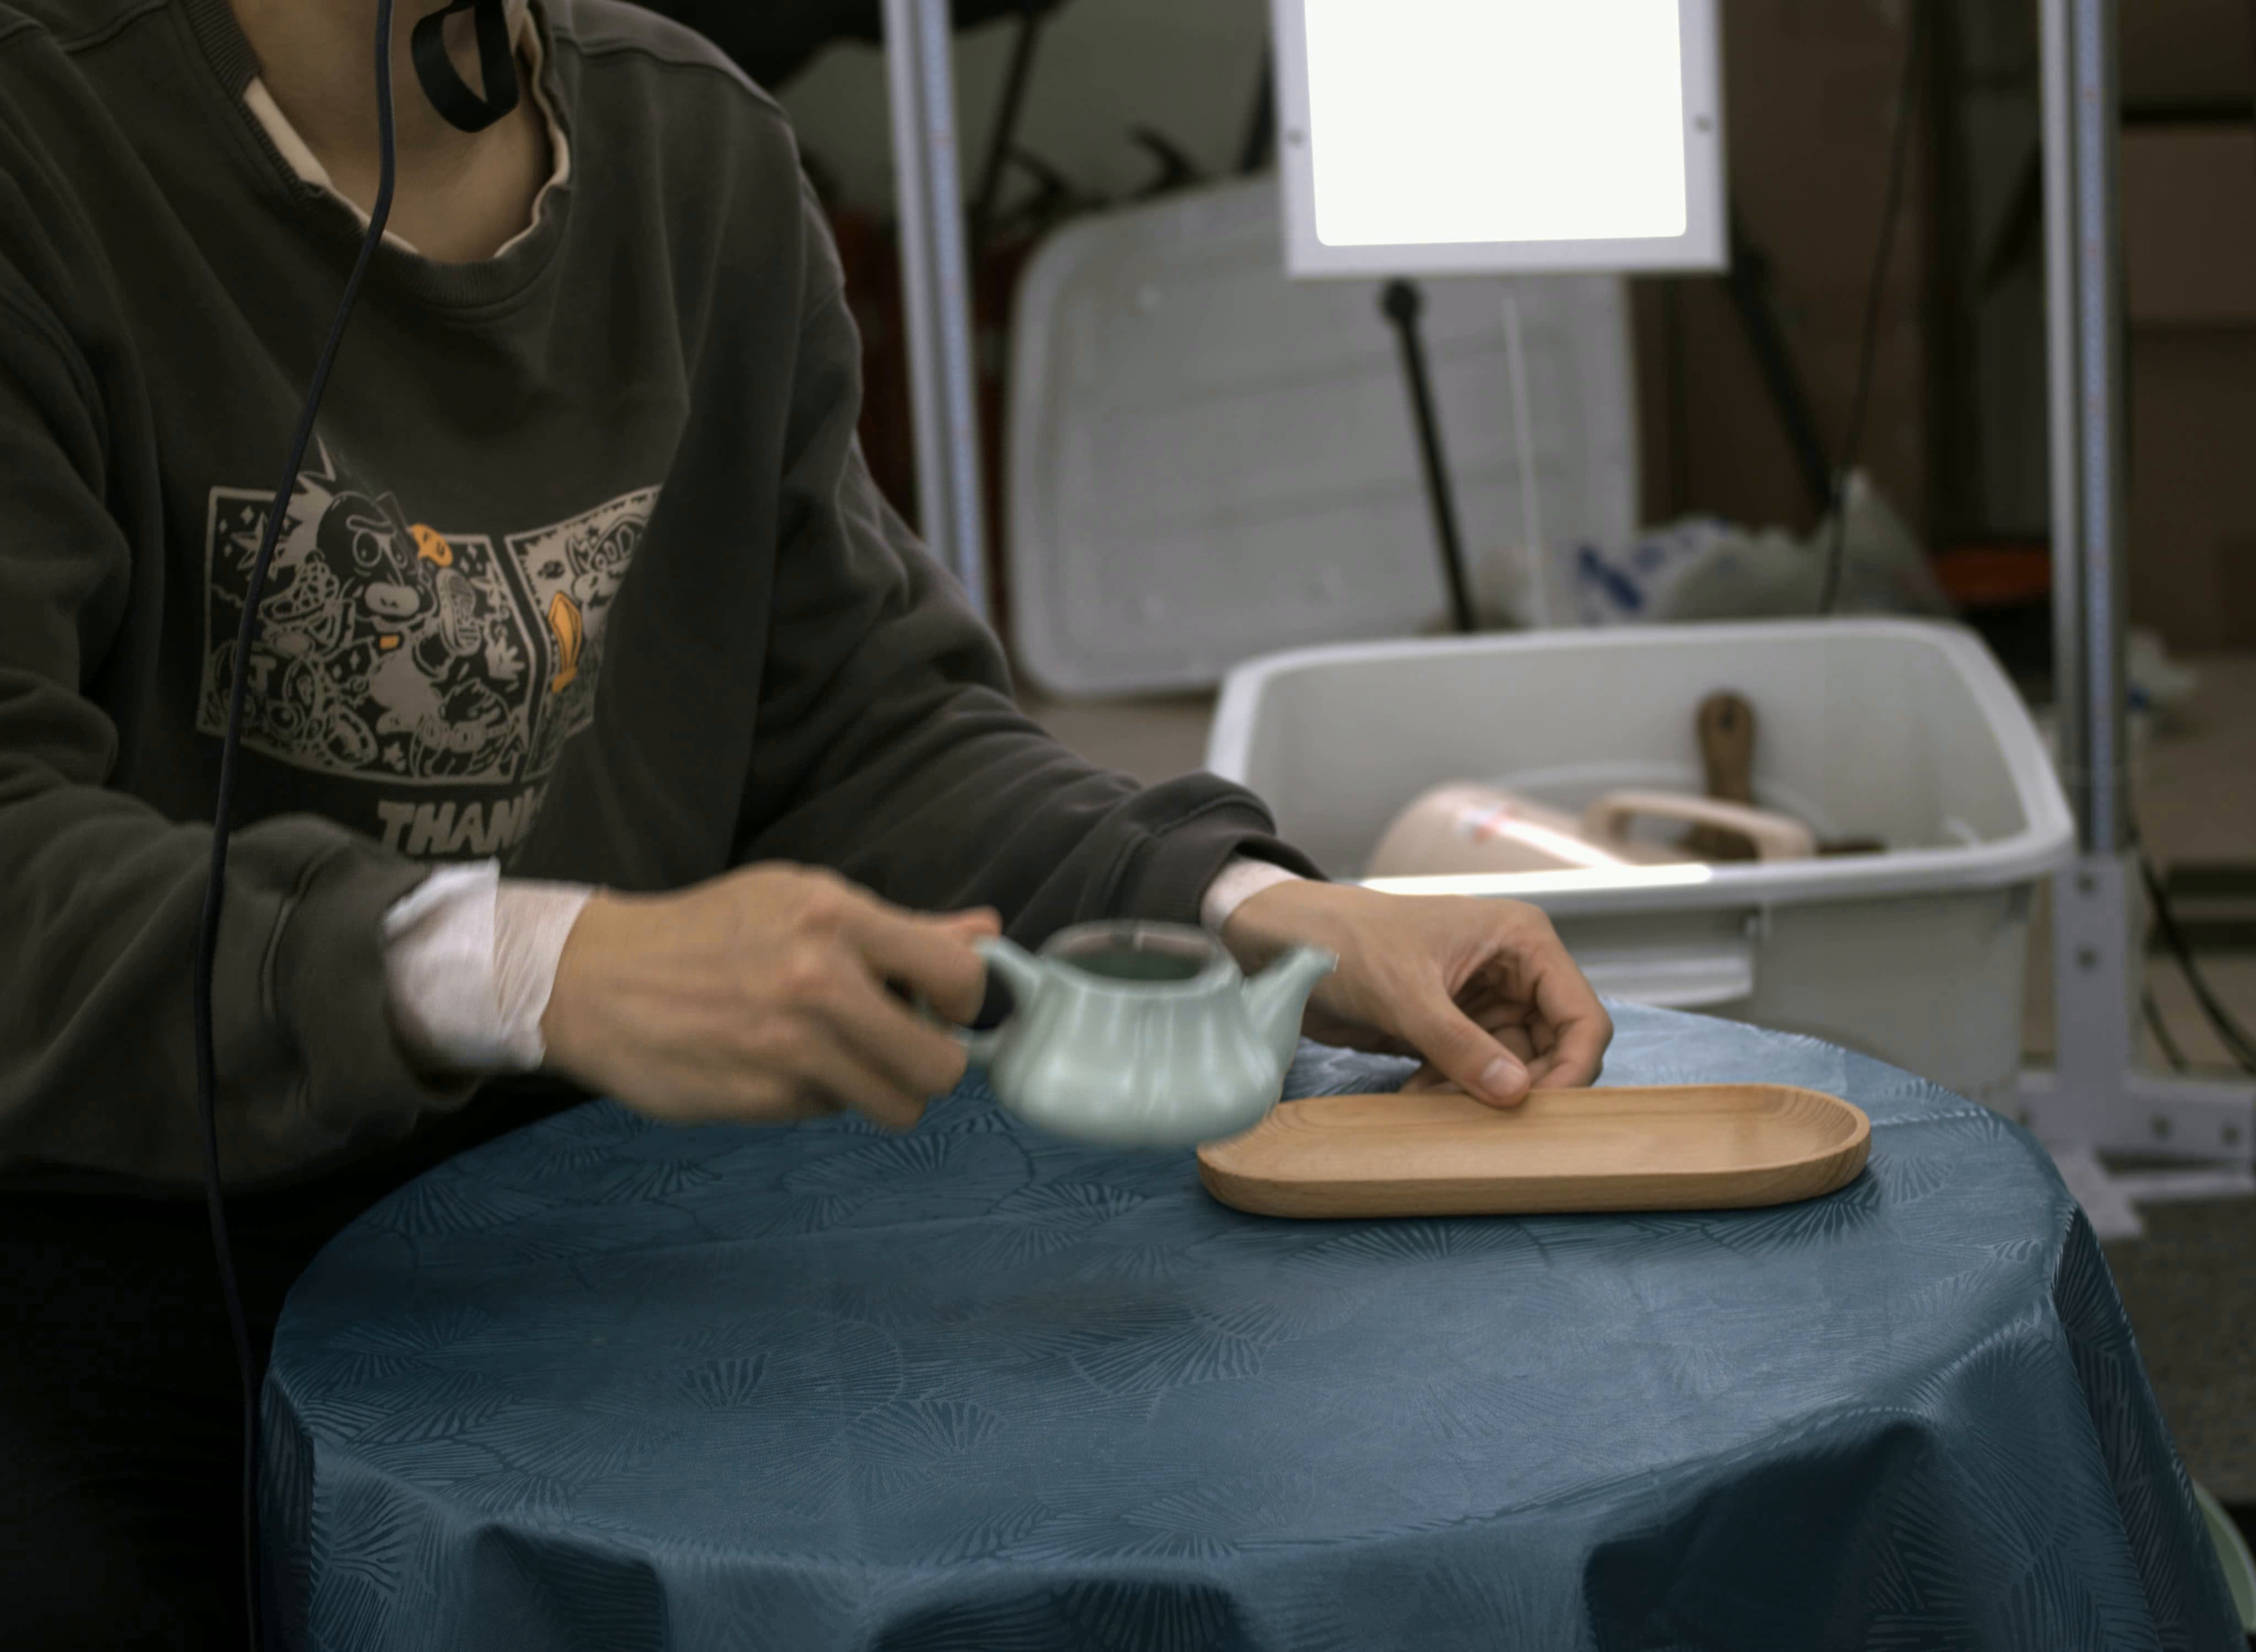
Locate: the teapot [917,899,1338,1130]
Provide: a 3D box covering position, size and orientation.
[{"bbox_3d":[-0.001,0.059,1.753,0.135,0.062,0.096,1,20,-12],"label":"teapot"}]

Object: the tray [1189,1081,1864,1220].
[{"bbox_3d":[0.136,0.111,1.874,0.232,0.020,0.100,-4,13,11],"label":"tray"}]
